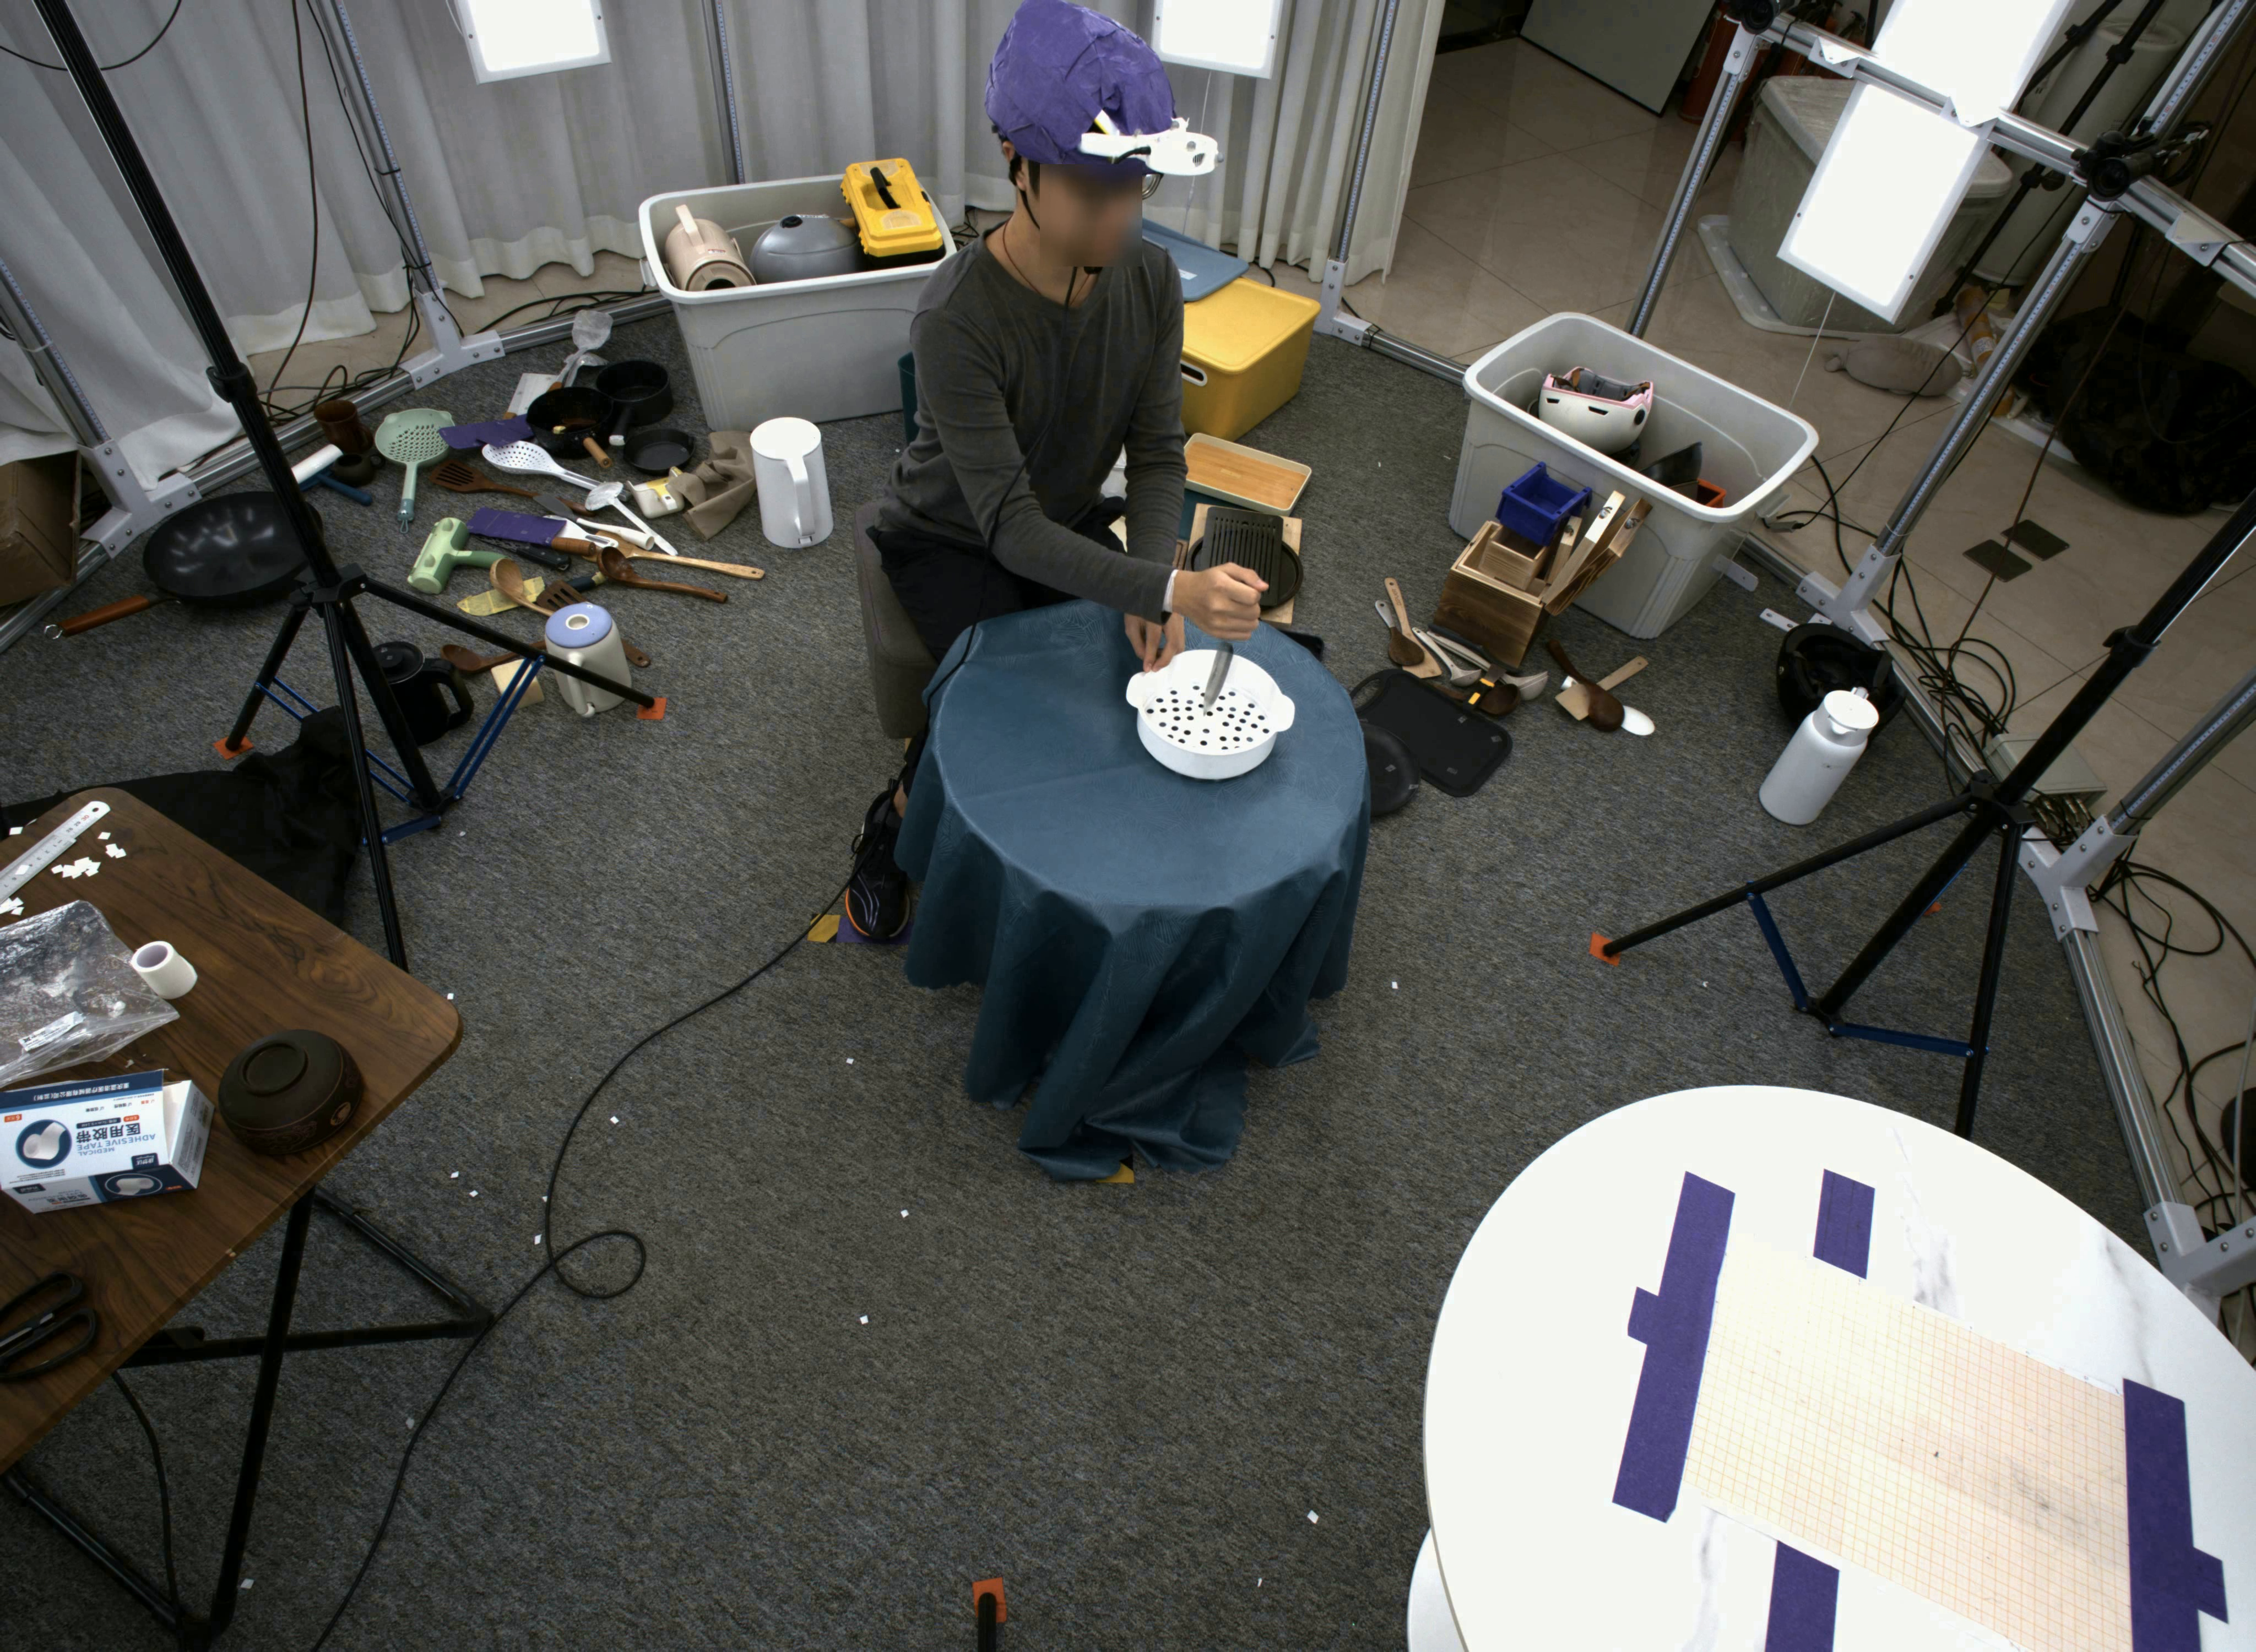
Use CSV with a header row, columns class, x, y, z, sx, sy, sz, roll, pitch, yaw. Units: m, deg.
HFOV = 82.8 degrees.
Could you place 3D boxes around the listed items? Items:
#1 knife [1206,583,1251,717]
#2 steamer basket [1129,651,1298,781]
class,x,y,z,sx,sy,sz,roll,pitch,yaw
knife,0.125,-0.224,1.669,0.024,0.233,0.016,22,50,7
steamer basket,0.115,-0.151,1.763,0.231,0.067,0.206,10,48,6
